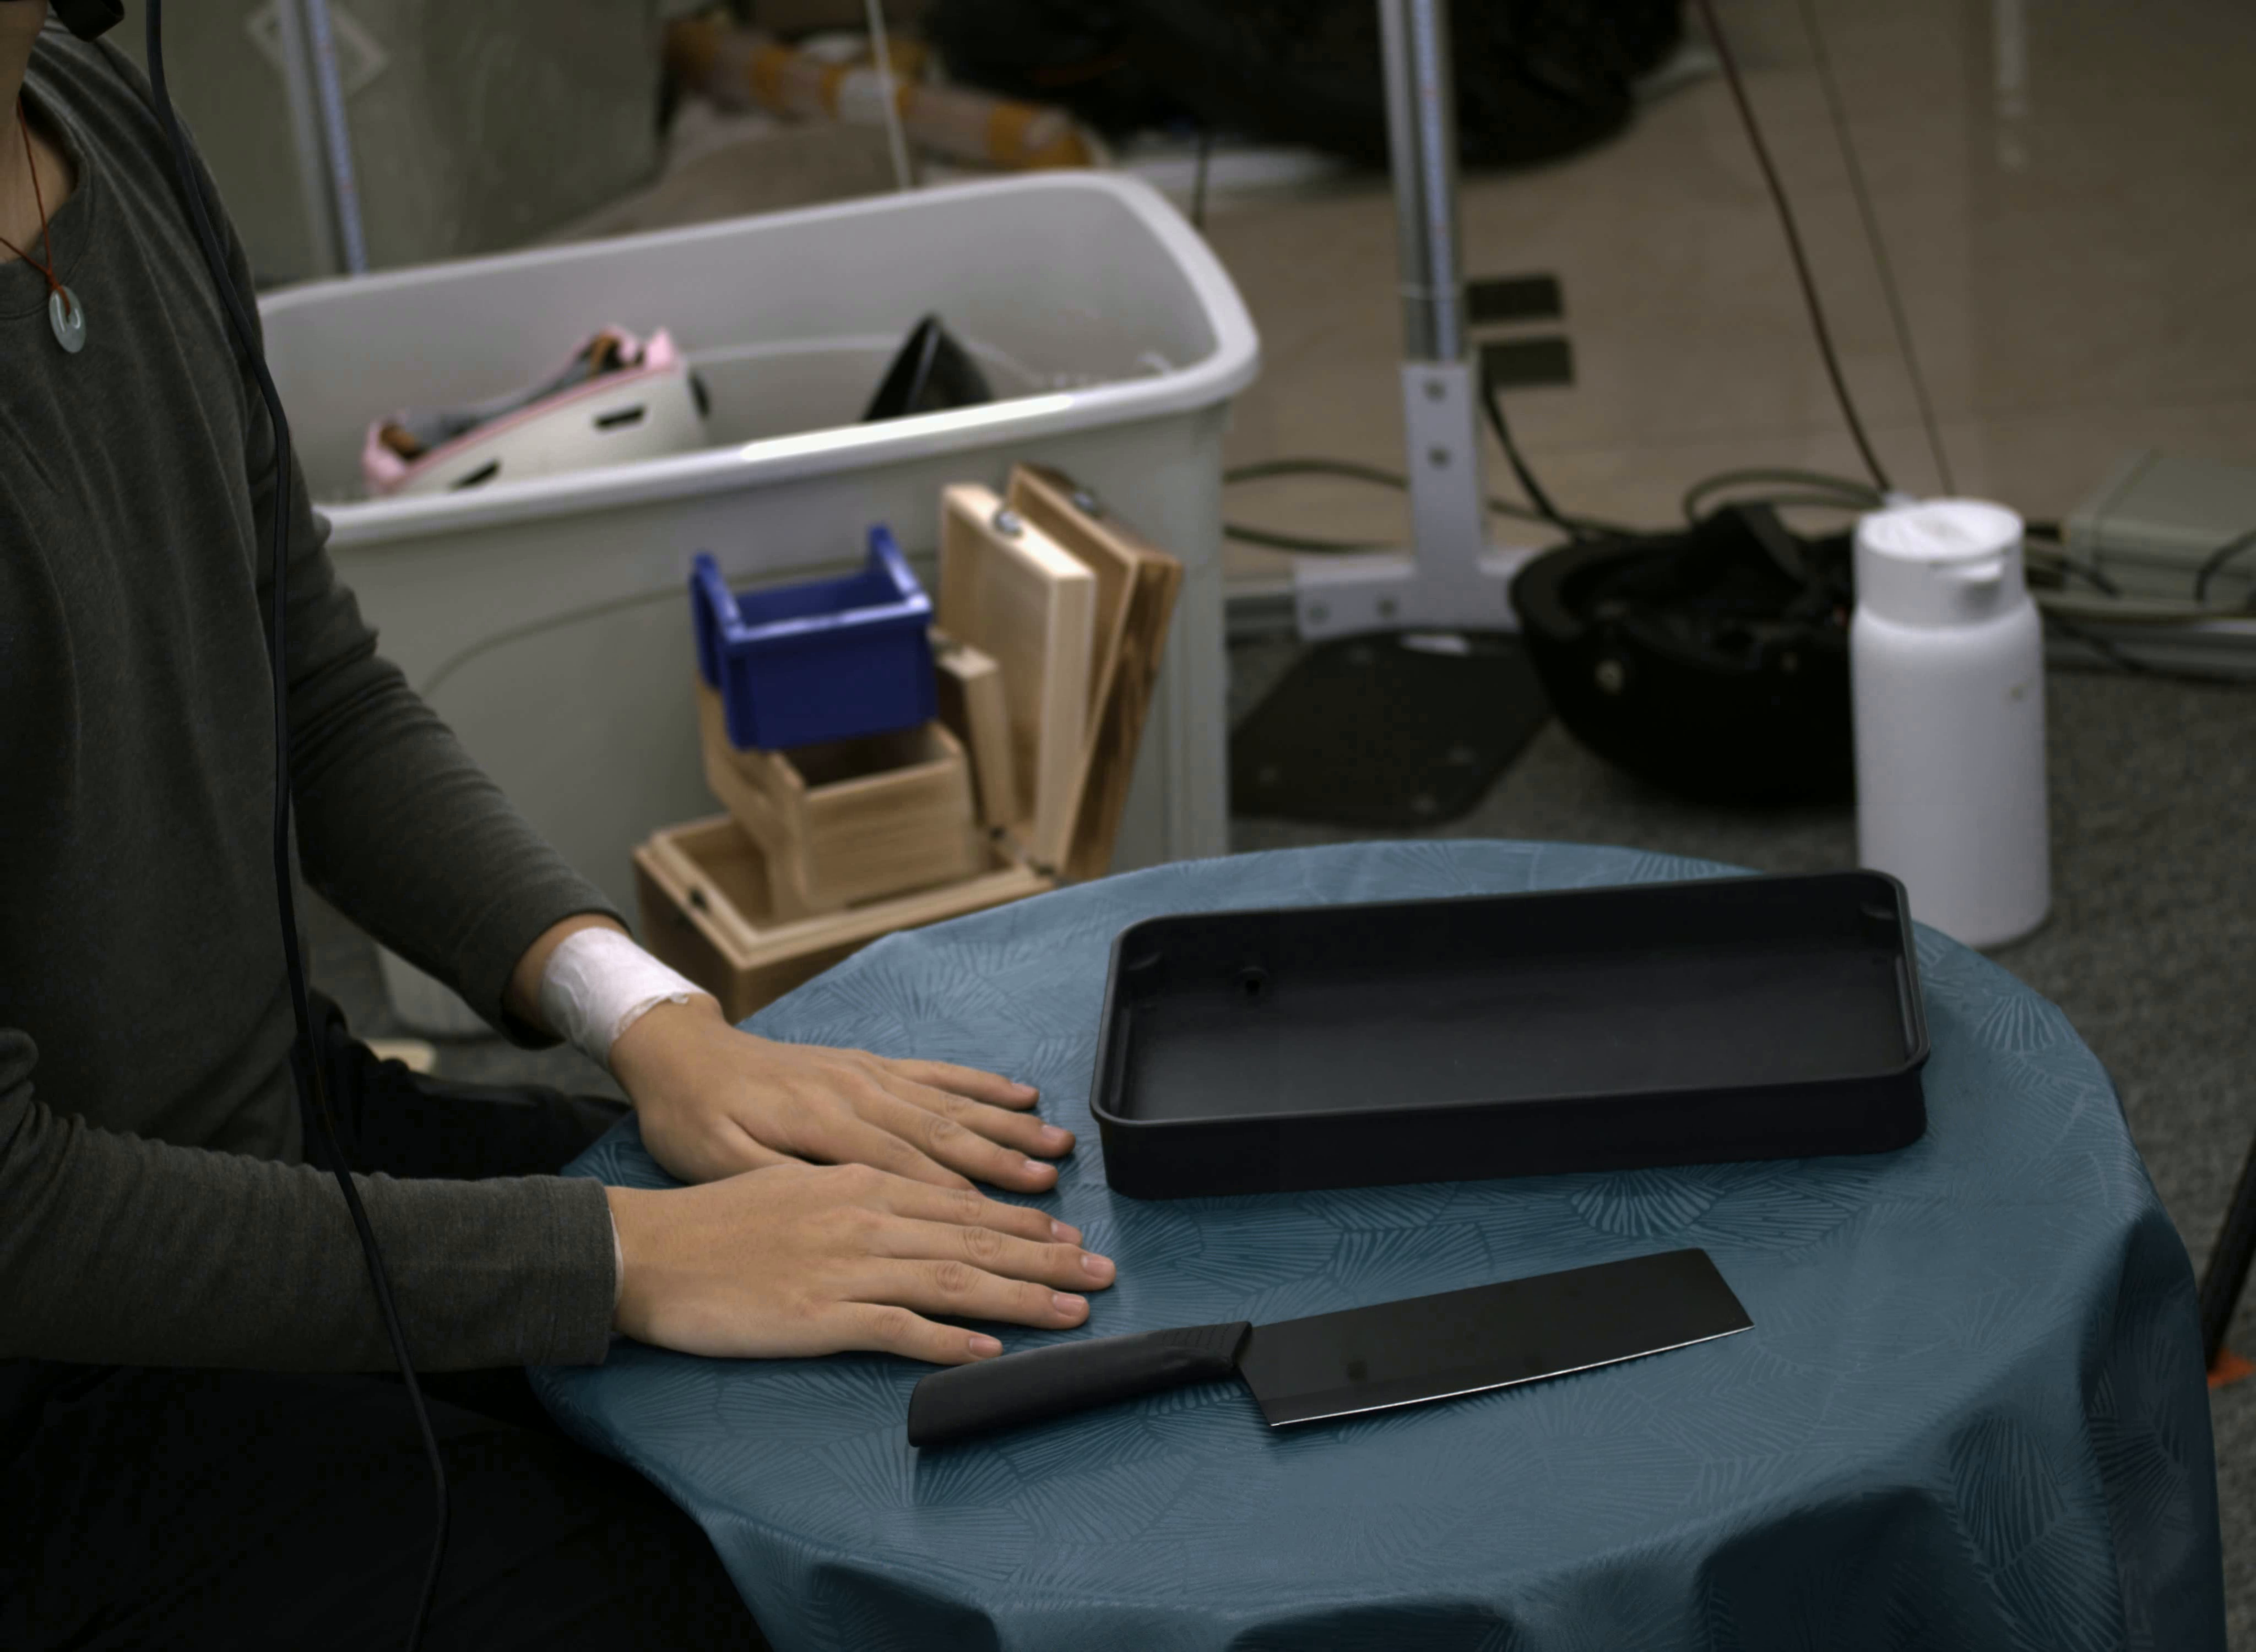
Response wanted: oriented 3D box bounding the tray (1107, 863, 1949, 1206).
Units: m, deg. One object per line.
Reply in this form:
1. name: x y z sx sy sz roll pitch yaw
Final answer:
1. tray: 0.153 0.079 2.201 0.317 0.037 0.181 -5 25 4

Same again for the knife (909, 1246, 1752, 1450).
1. knife: 0.070 0.188 2.012 0.302 0.021 0.080 -8 26 -7
